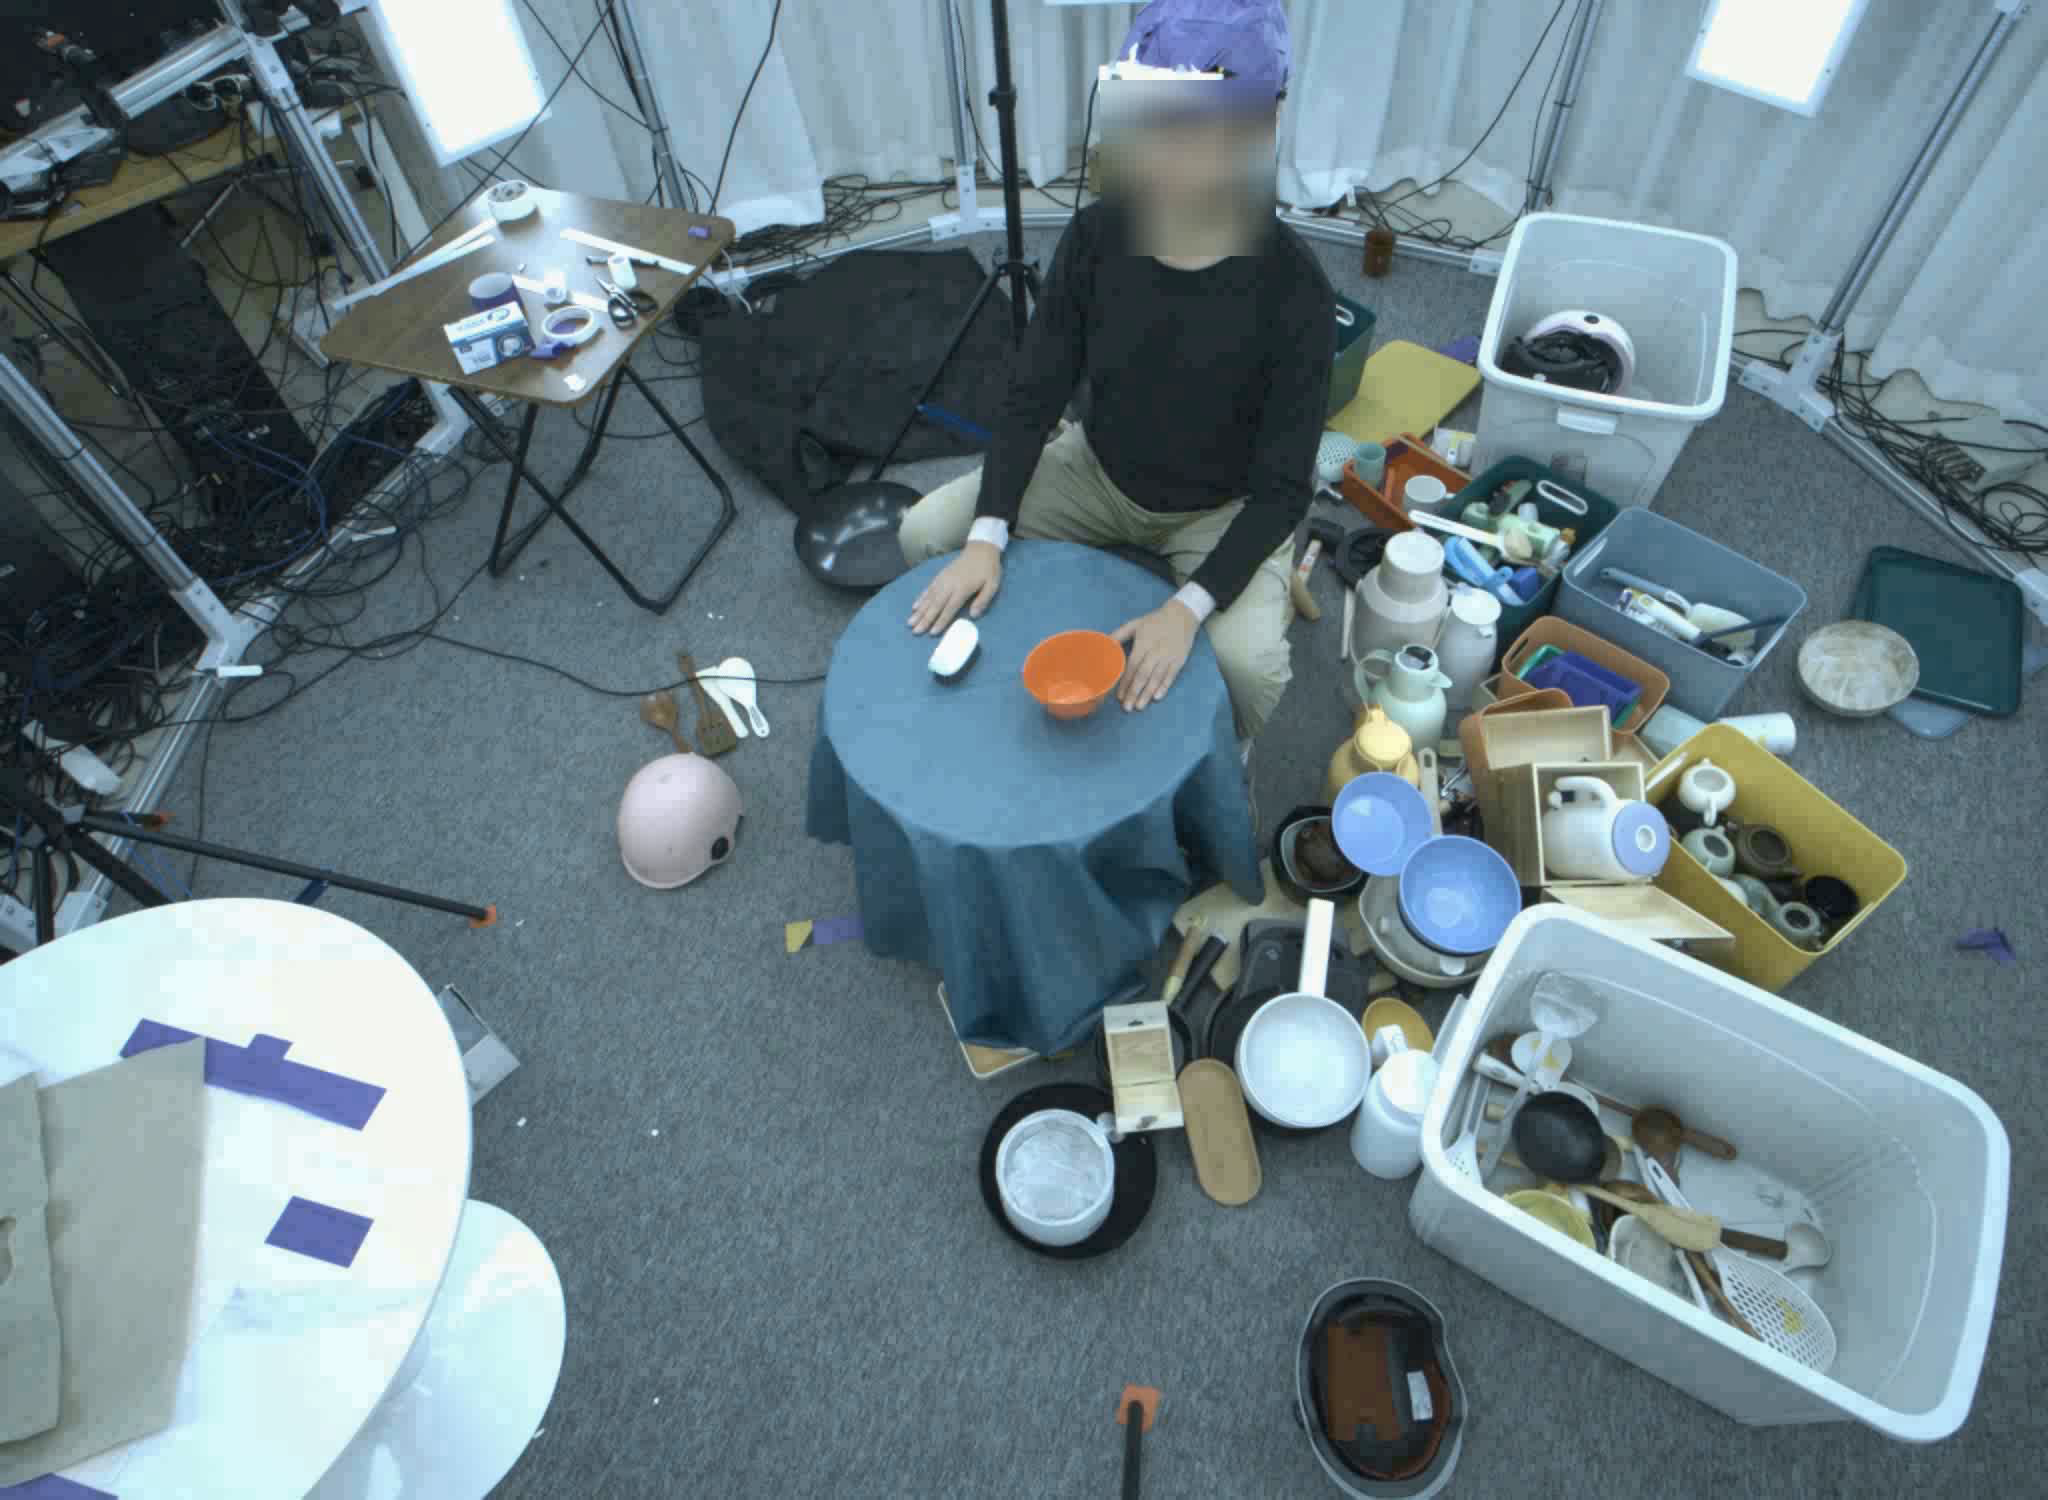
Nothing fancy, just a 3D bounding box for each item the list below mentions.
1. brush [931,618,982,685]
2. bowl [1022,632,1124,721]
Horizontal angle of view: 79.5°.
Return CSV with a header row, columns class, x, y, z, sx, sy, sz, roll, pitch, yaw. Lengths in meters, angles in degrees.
class,x,y,z,sx,sy,sz,roll,pitch,yaw
brush,-0.105,-0.157,1.856,0.049,0.073,0.099,23,59,20
bowl,0.072,-0.094,1.792,0.148,0.106,0.146,-1,53,2
